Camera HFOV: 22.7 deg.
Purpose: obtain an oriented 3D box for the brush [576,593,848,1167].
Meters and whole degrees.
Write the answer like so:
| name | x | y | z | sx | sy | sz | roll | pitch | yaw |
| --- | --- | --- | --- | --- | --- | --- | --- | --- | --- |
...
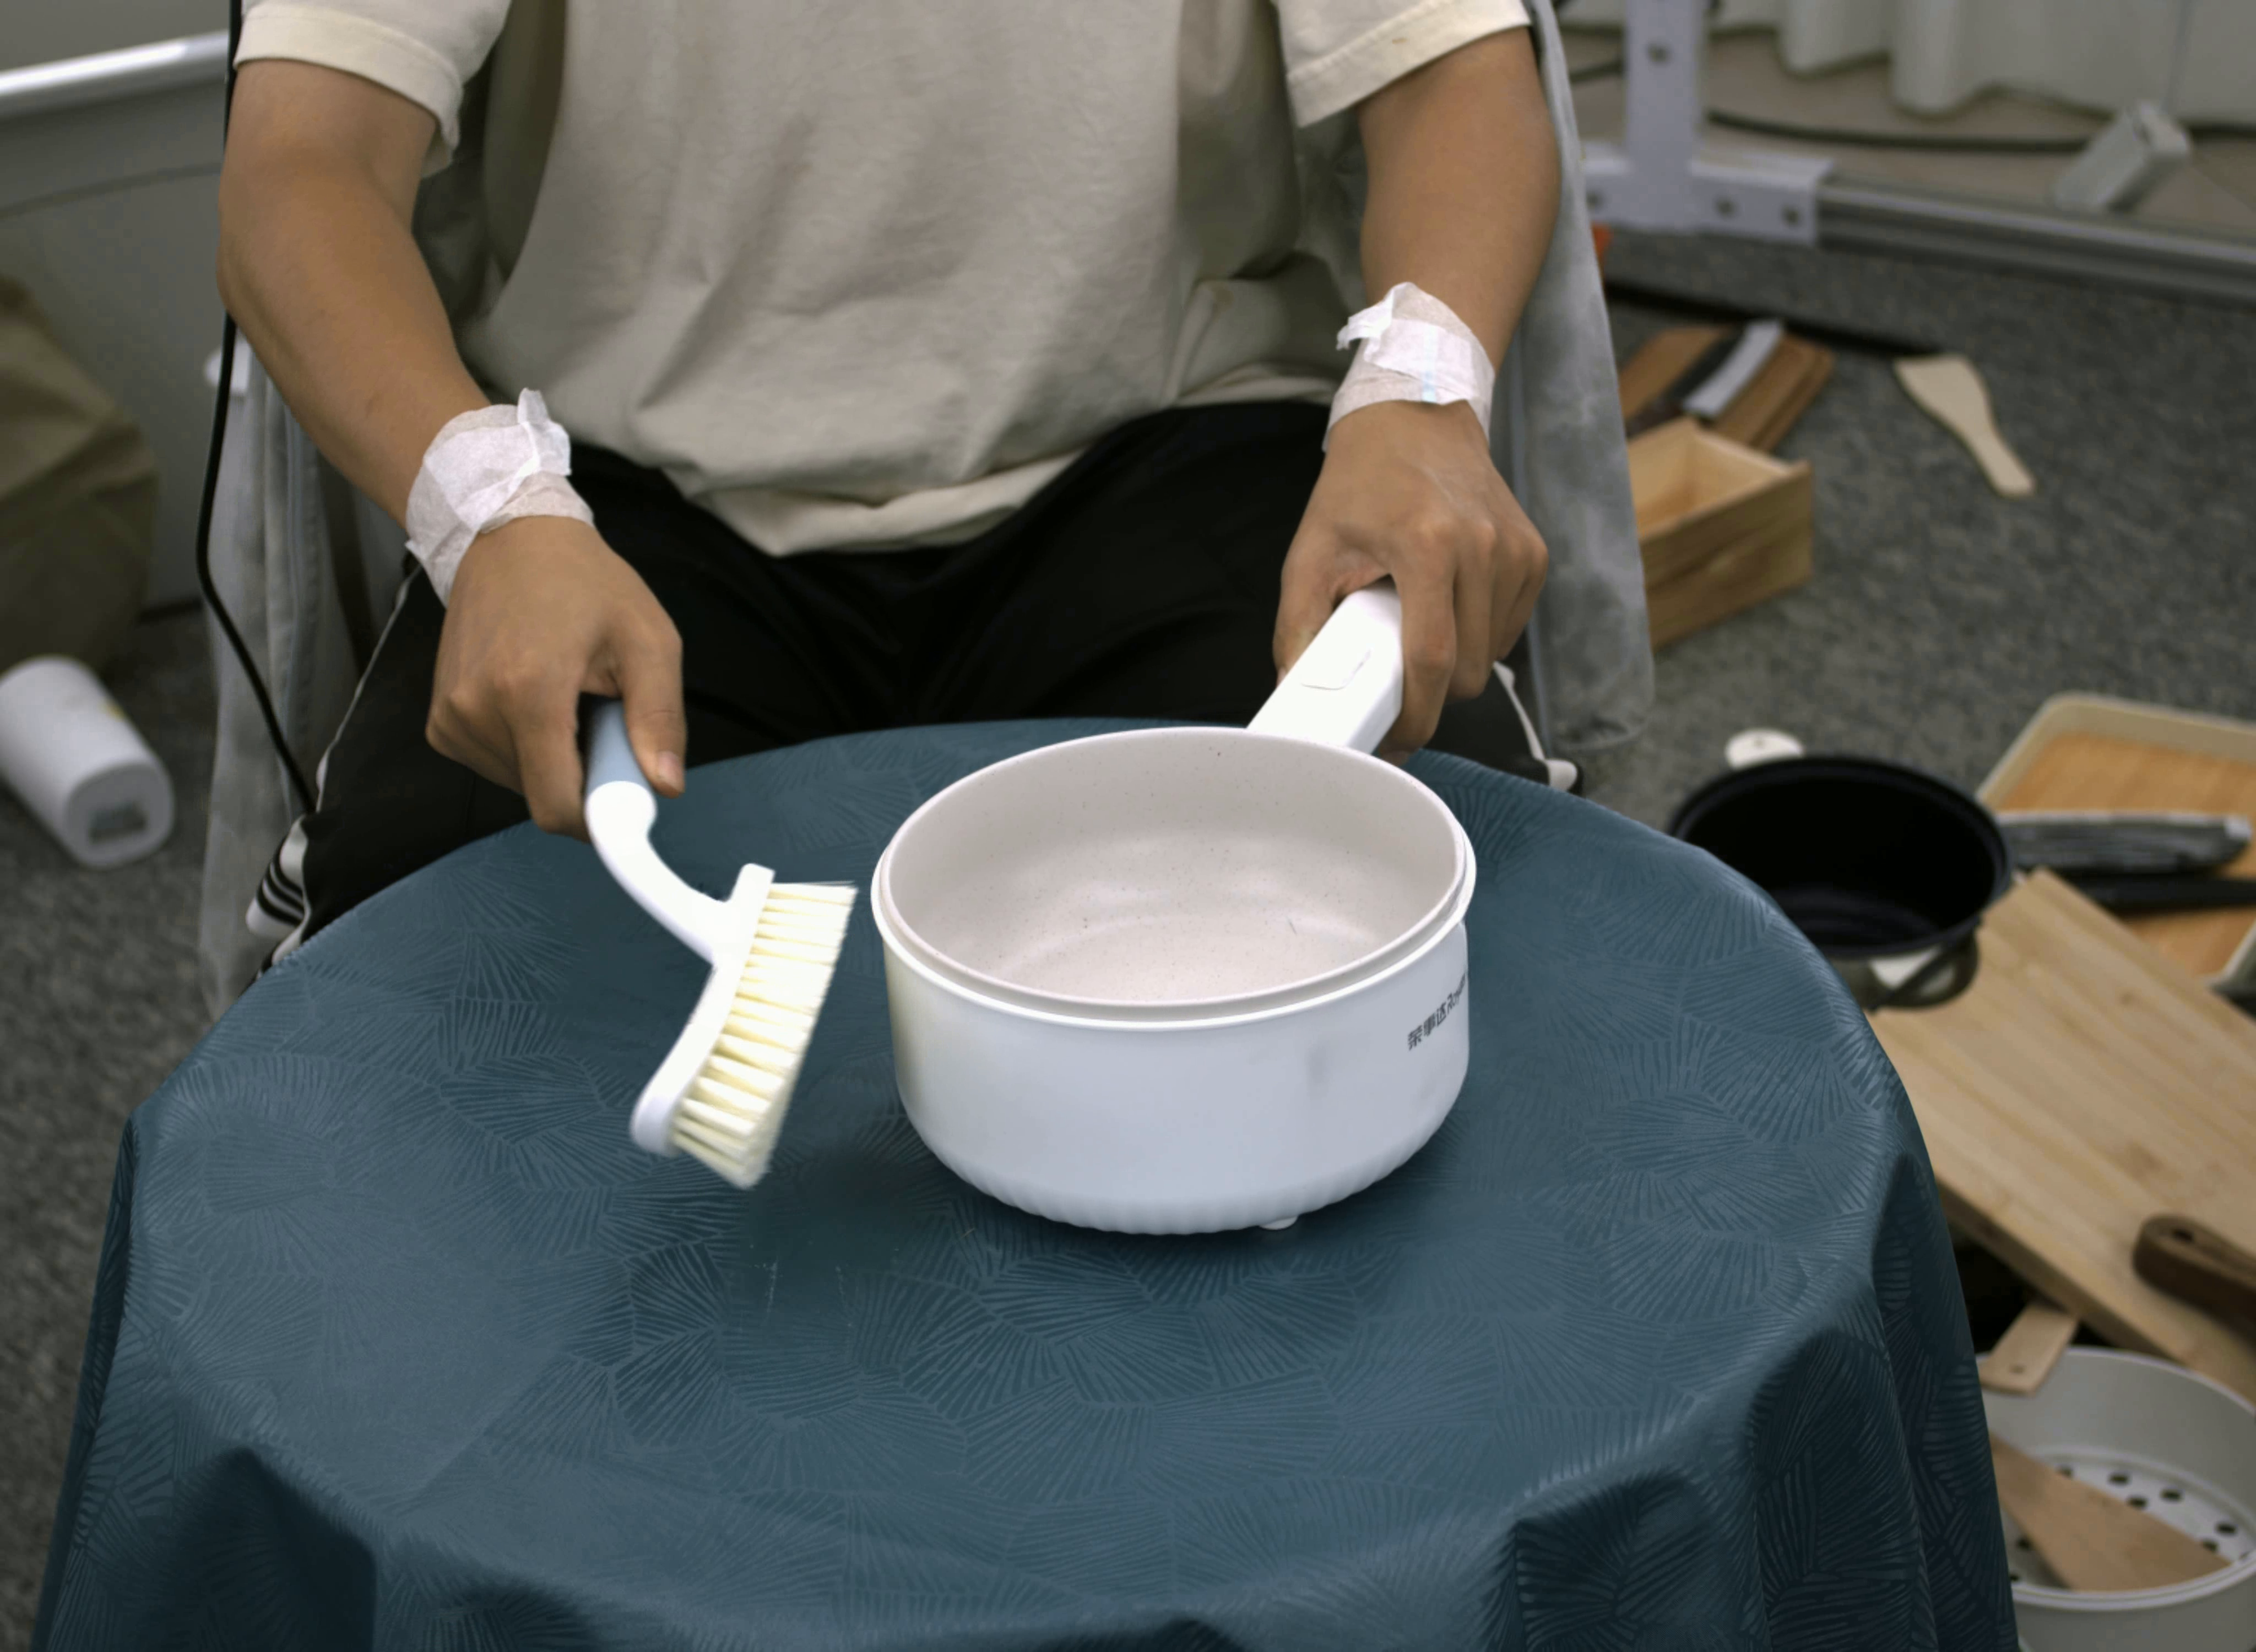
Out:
| name | x | y | z | sx | sy | sz | roll | pitch | yaw |
| --- | --- | --- | --- | --- | --- | --- | --- | --- | --- |
| brush | -0.133 | 0.010 | 1.912 | 0.082 | 0.084 | 0.330 | -34 | 29 | 14 |

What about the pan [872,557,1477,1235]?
| name | x | y | z | sx | sy | sz | roll | pitch | yaw |
| --- | --- | --- | --- | --- | --- | --- | --- | --- | --- |
| pan | 0.045 | 0.021 | 1.943 | 0.200 | 0.101 | 0.361 | 7 | 28 | 20 |
